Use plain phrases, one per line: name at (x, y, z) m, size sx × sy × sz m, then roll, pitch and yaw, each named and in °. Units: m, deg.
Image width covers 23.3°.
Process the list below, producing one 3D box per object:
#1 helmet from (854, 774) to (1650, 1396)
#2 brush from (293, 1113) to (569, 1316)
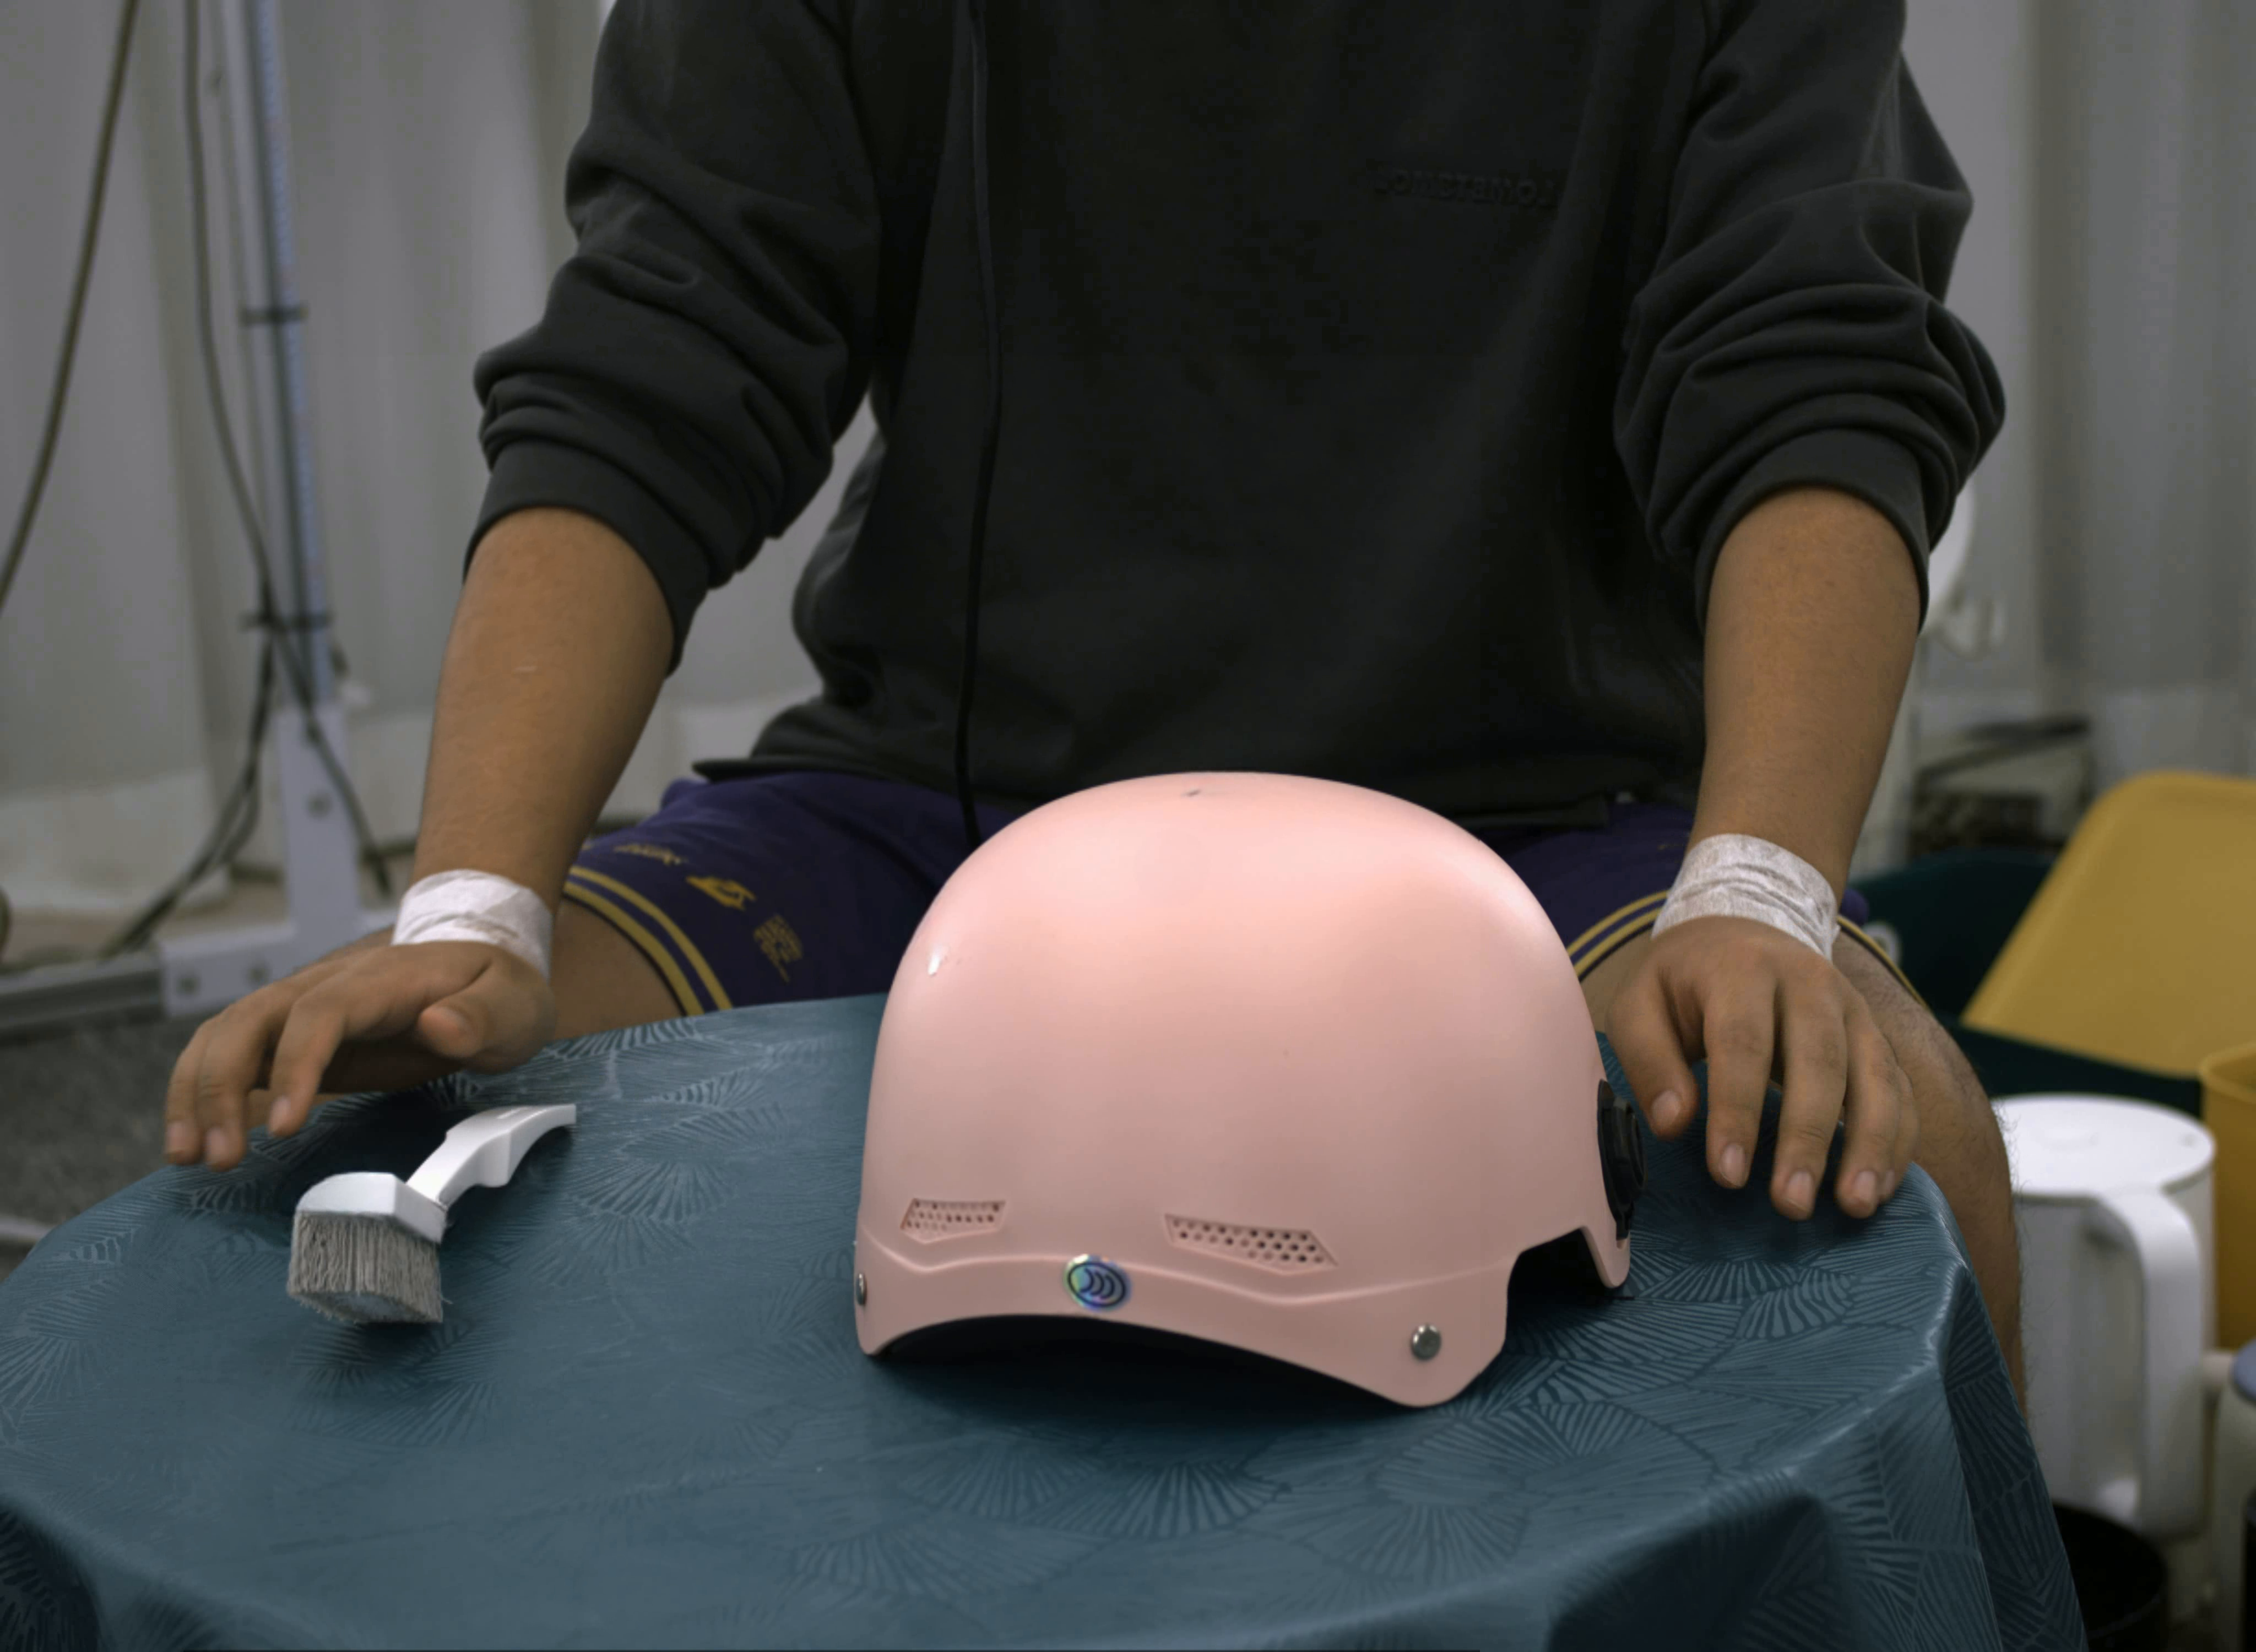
helmet at (0.035, 0.062, 1.619) m, size 0.234 × 0.158 × 0.266 m, roll 2°, pitch 11°, yaw 22°
brush at (-0.210, 0.120, 1.695) m, size 0.034 × 0.050 × 0.243 m, roll -3°, pitch 1°, yaw 8°
